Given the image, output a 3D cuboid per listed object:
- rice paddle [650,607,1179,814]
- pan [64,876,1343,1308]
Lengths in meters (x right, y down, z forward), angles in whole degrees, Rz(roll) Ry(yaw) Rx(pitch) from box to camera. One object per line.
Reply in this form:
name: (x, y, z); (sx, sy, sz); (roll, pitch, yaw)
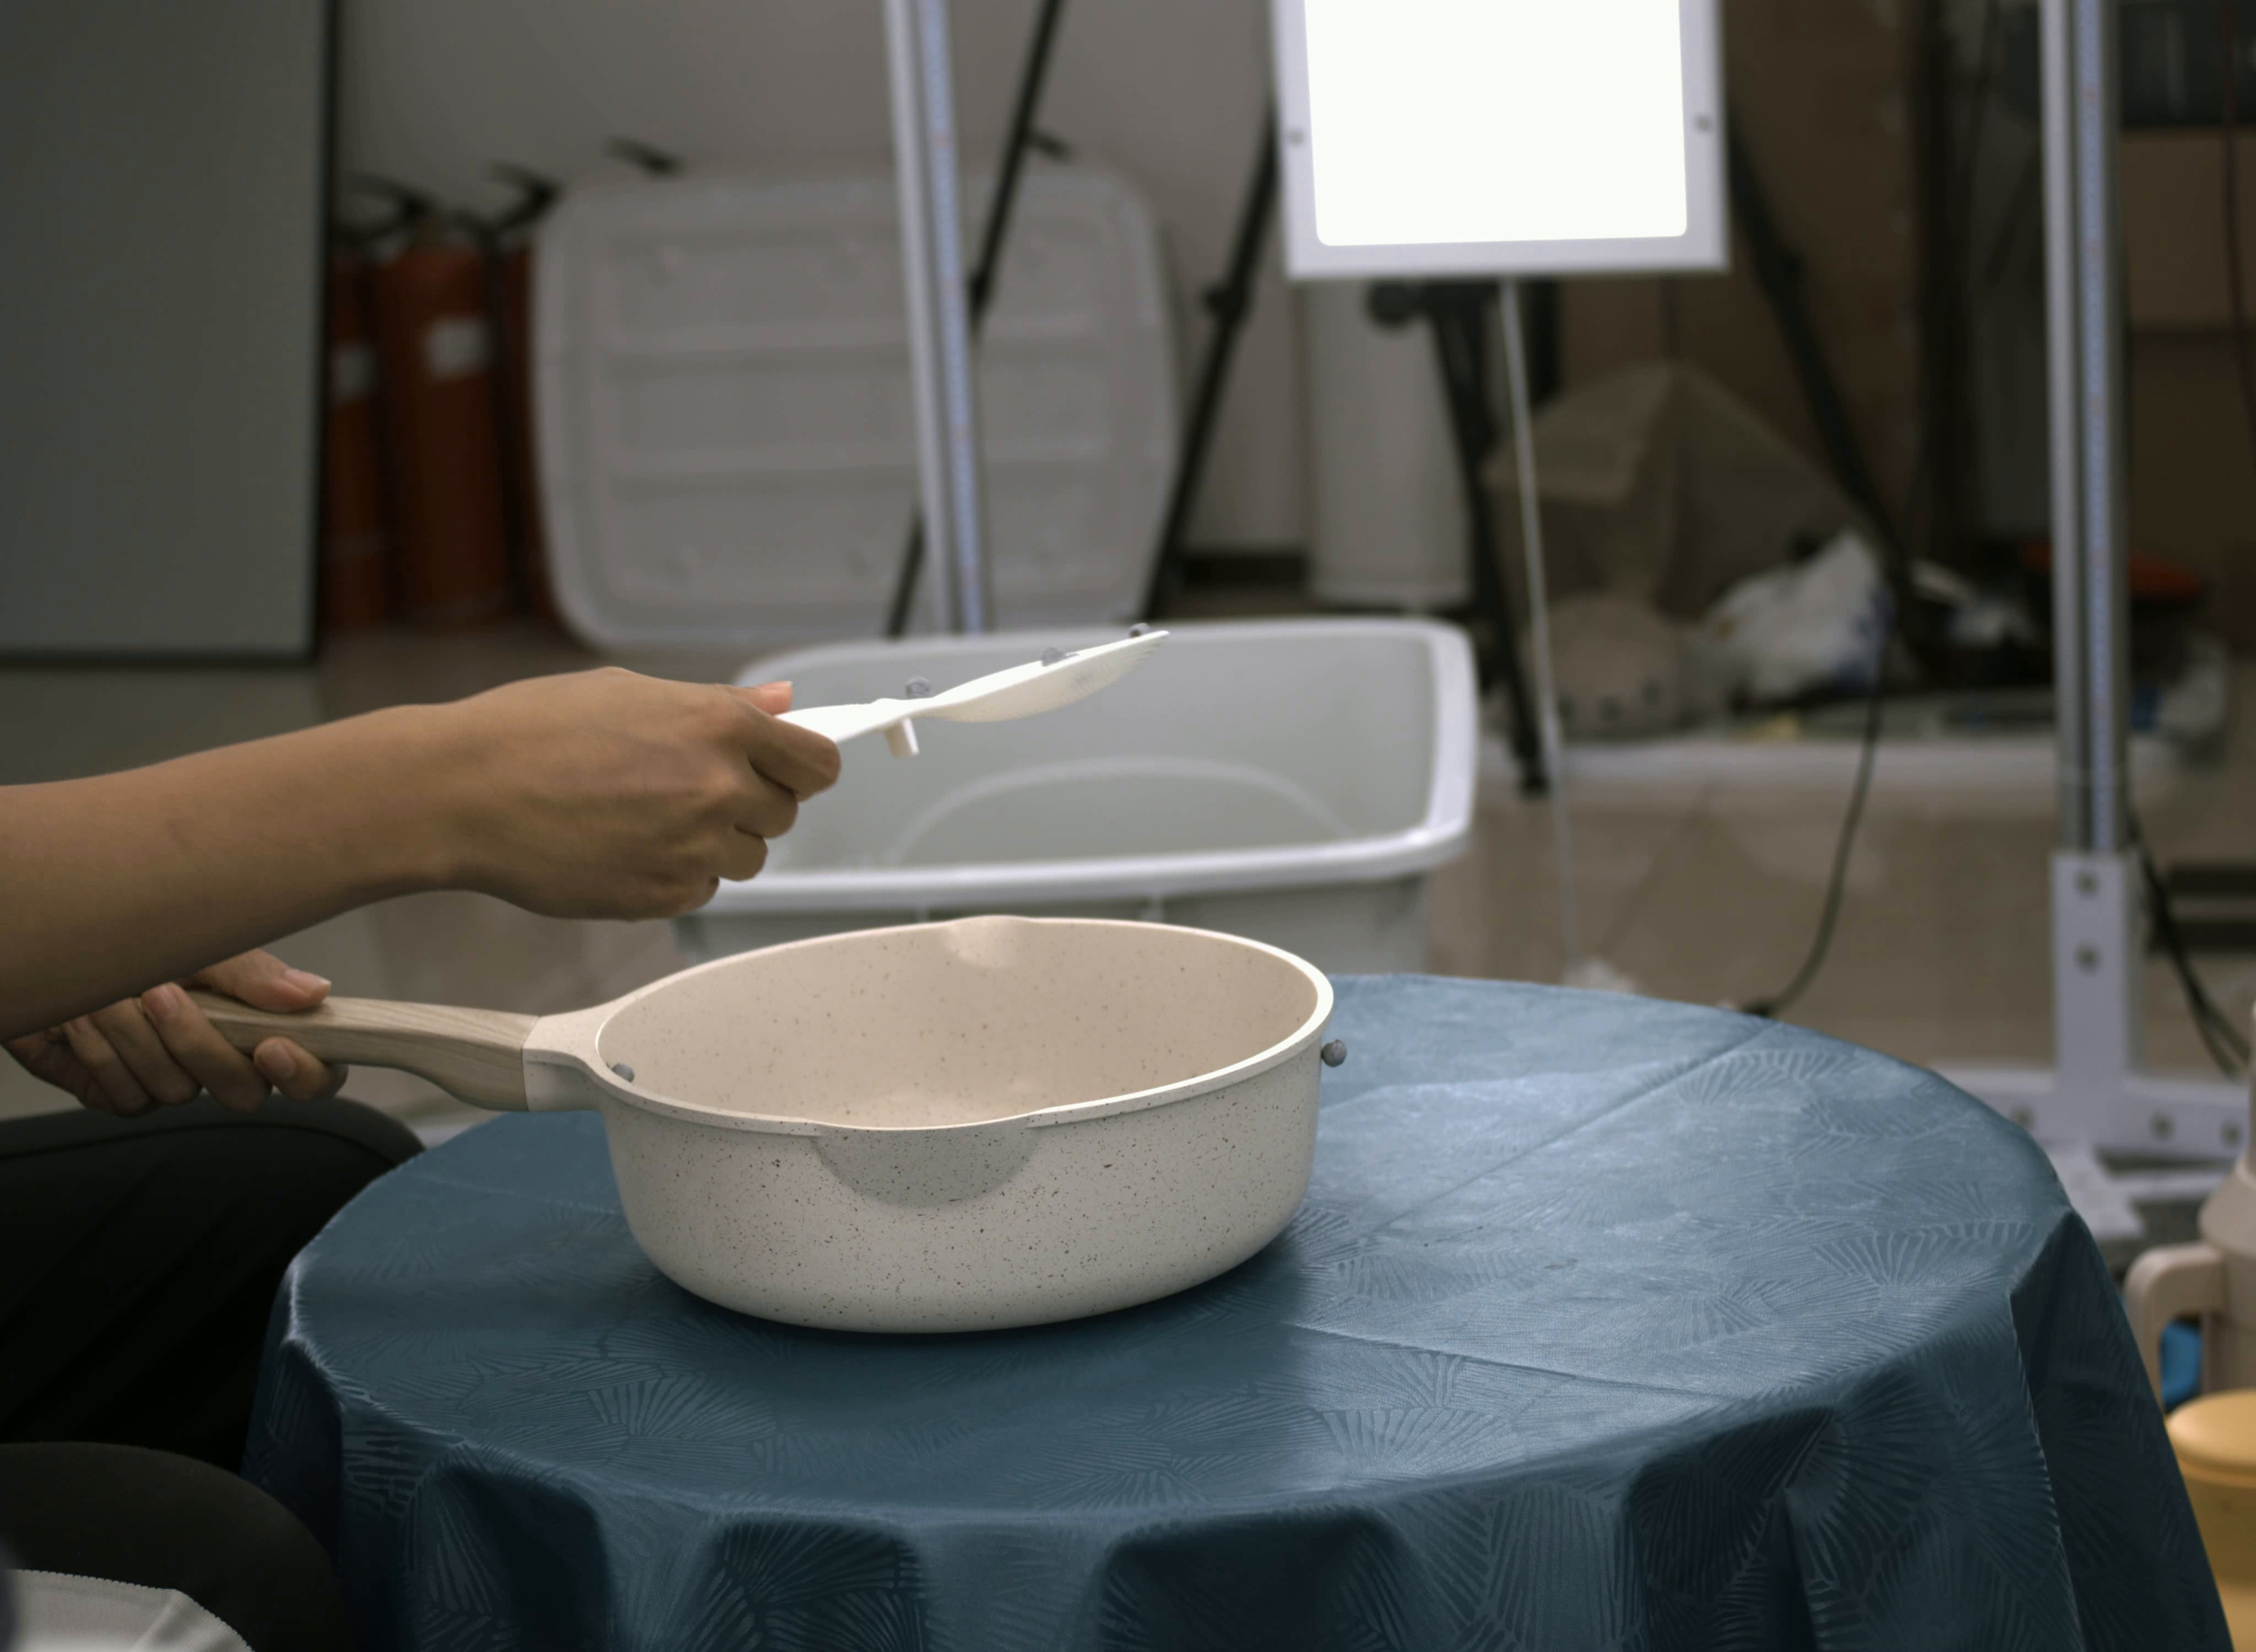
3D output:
rice paddle: (-0.066, -0.047, 1.804); (0.200, 0.029, 0.070); (-21, 9, -34)
pan: (-0.141, 0.090, 1.872); (0.436, 0.102, 0.262); (-4, 16, 6)
